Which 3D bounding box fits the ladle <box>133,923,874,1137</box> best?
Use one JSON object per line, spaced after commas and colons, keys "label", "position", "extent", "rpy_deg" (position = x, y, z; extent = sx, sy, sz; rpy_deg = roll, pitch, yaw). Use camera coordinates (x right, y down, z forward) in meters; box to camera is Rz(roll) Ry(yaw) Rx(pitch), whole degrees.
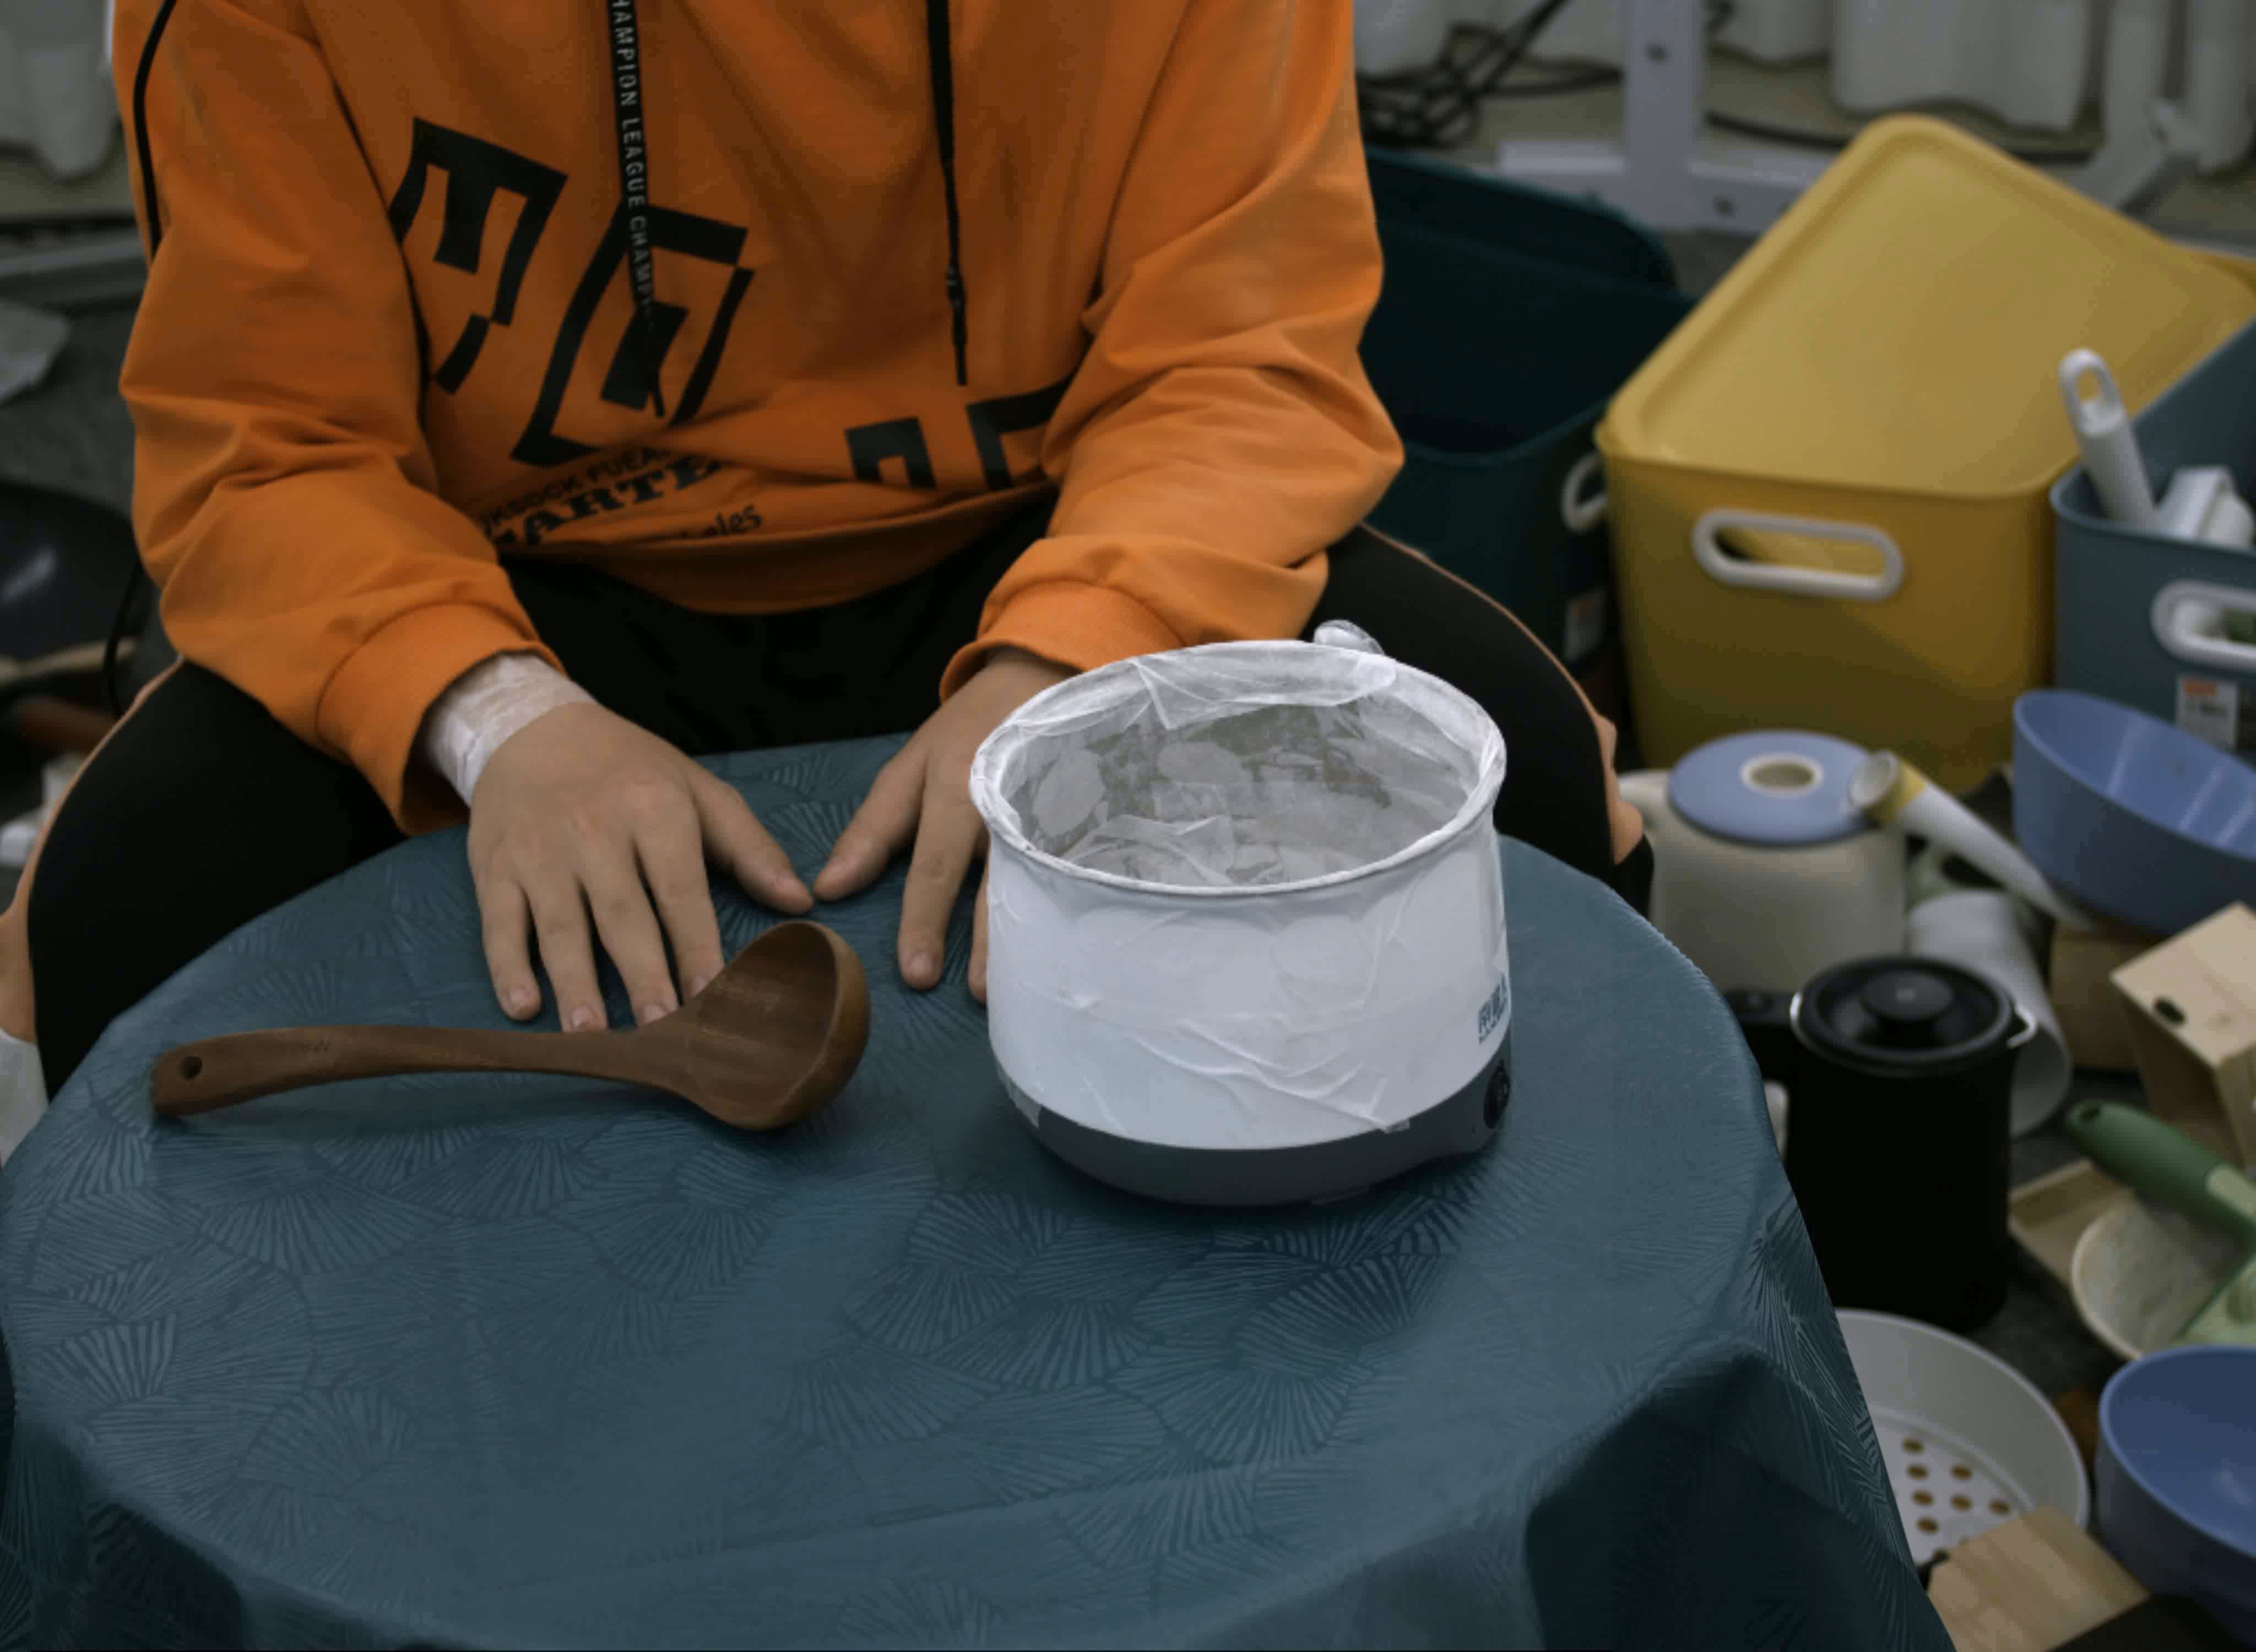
{"label": "ladle", "position": [-0.214, 0.073, 1.912], "extent": [0.259, 0.064, 0.078], "rpy_deg": [-2, 53, 2]}

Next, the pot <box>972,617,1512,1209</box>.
{"label": "pot", "position": [0.049, 0.022, 1.902], "extent": [0.177, 0.135, 0.238], "rpy_deg": [7, 29, 18]}
